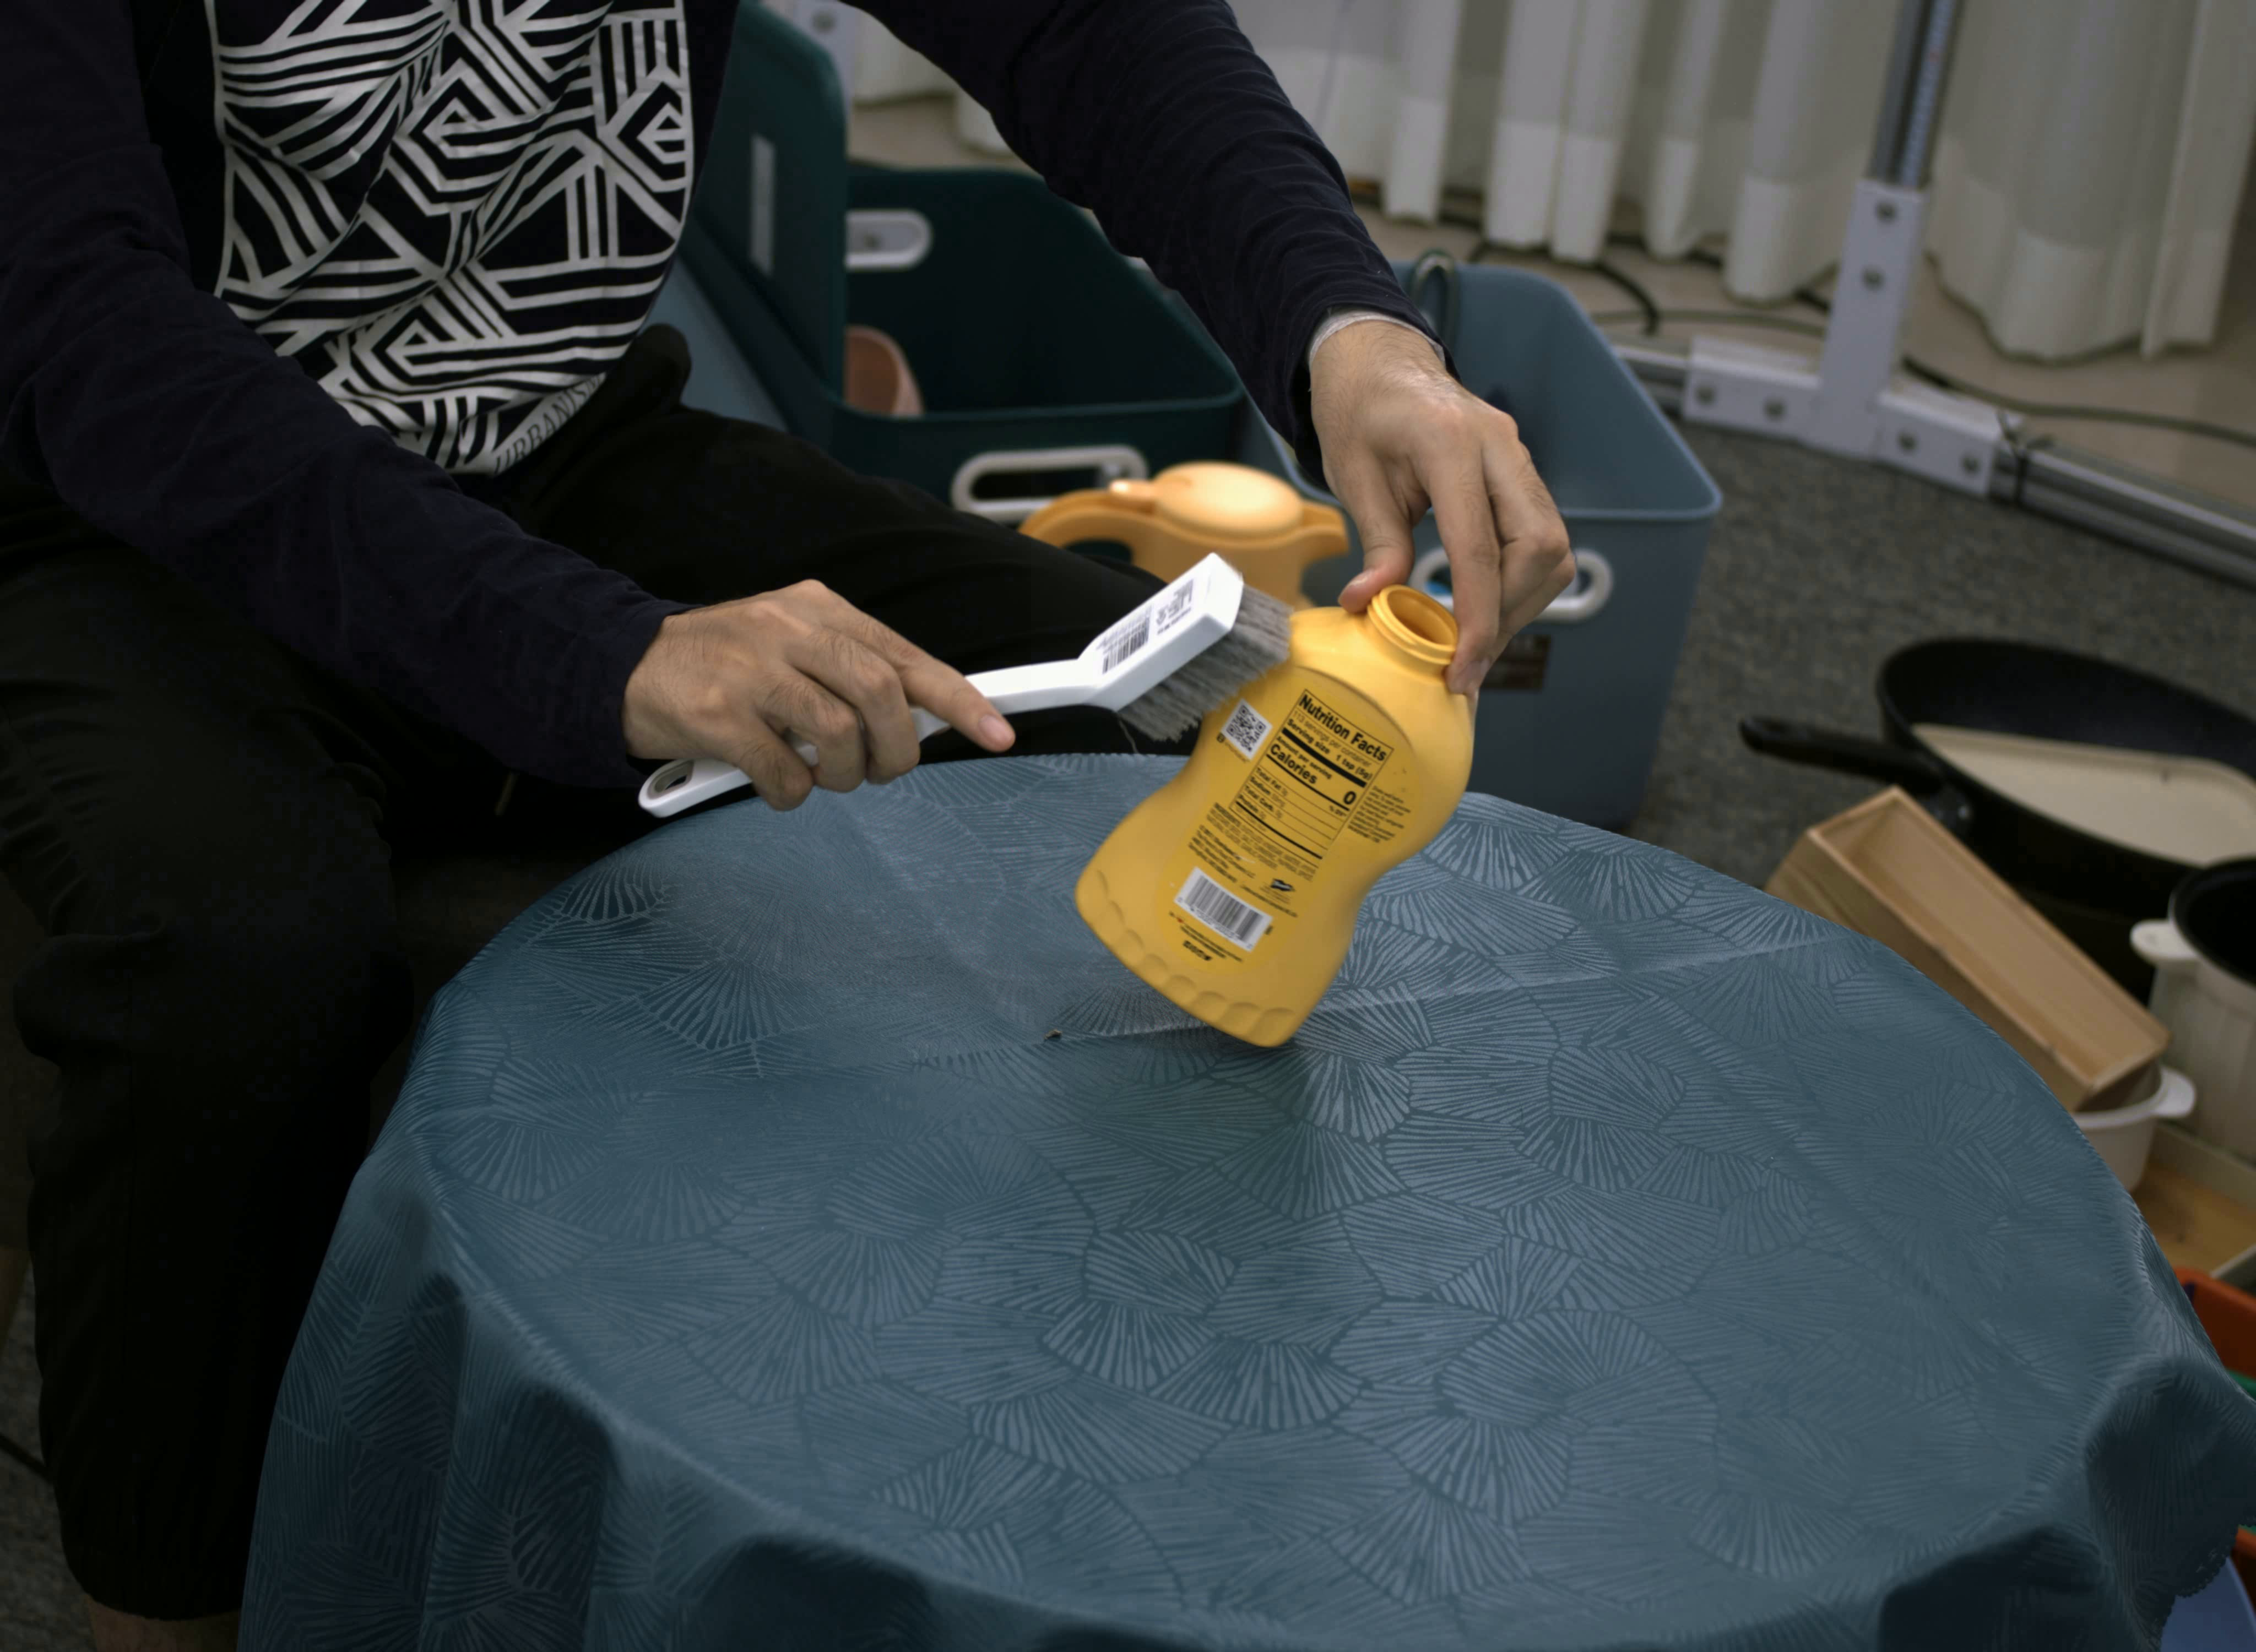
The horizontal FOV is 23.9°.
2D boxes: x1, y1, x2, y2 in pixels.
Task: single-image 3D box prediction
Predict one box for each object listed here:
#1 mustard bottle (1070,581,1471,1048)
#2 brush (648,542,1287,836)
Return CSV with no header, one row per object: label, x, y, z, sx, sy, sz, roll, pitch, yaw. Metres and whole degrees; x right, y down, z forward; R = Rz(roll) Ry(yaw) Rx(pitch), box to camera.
mustard bottle,0.059,-0.012,1.869,0.098,0.172,0.059,33,26,0
brush,-0.055,-0.035,1.866,0.244,0.050,0.034,-22,43,19
